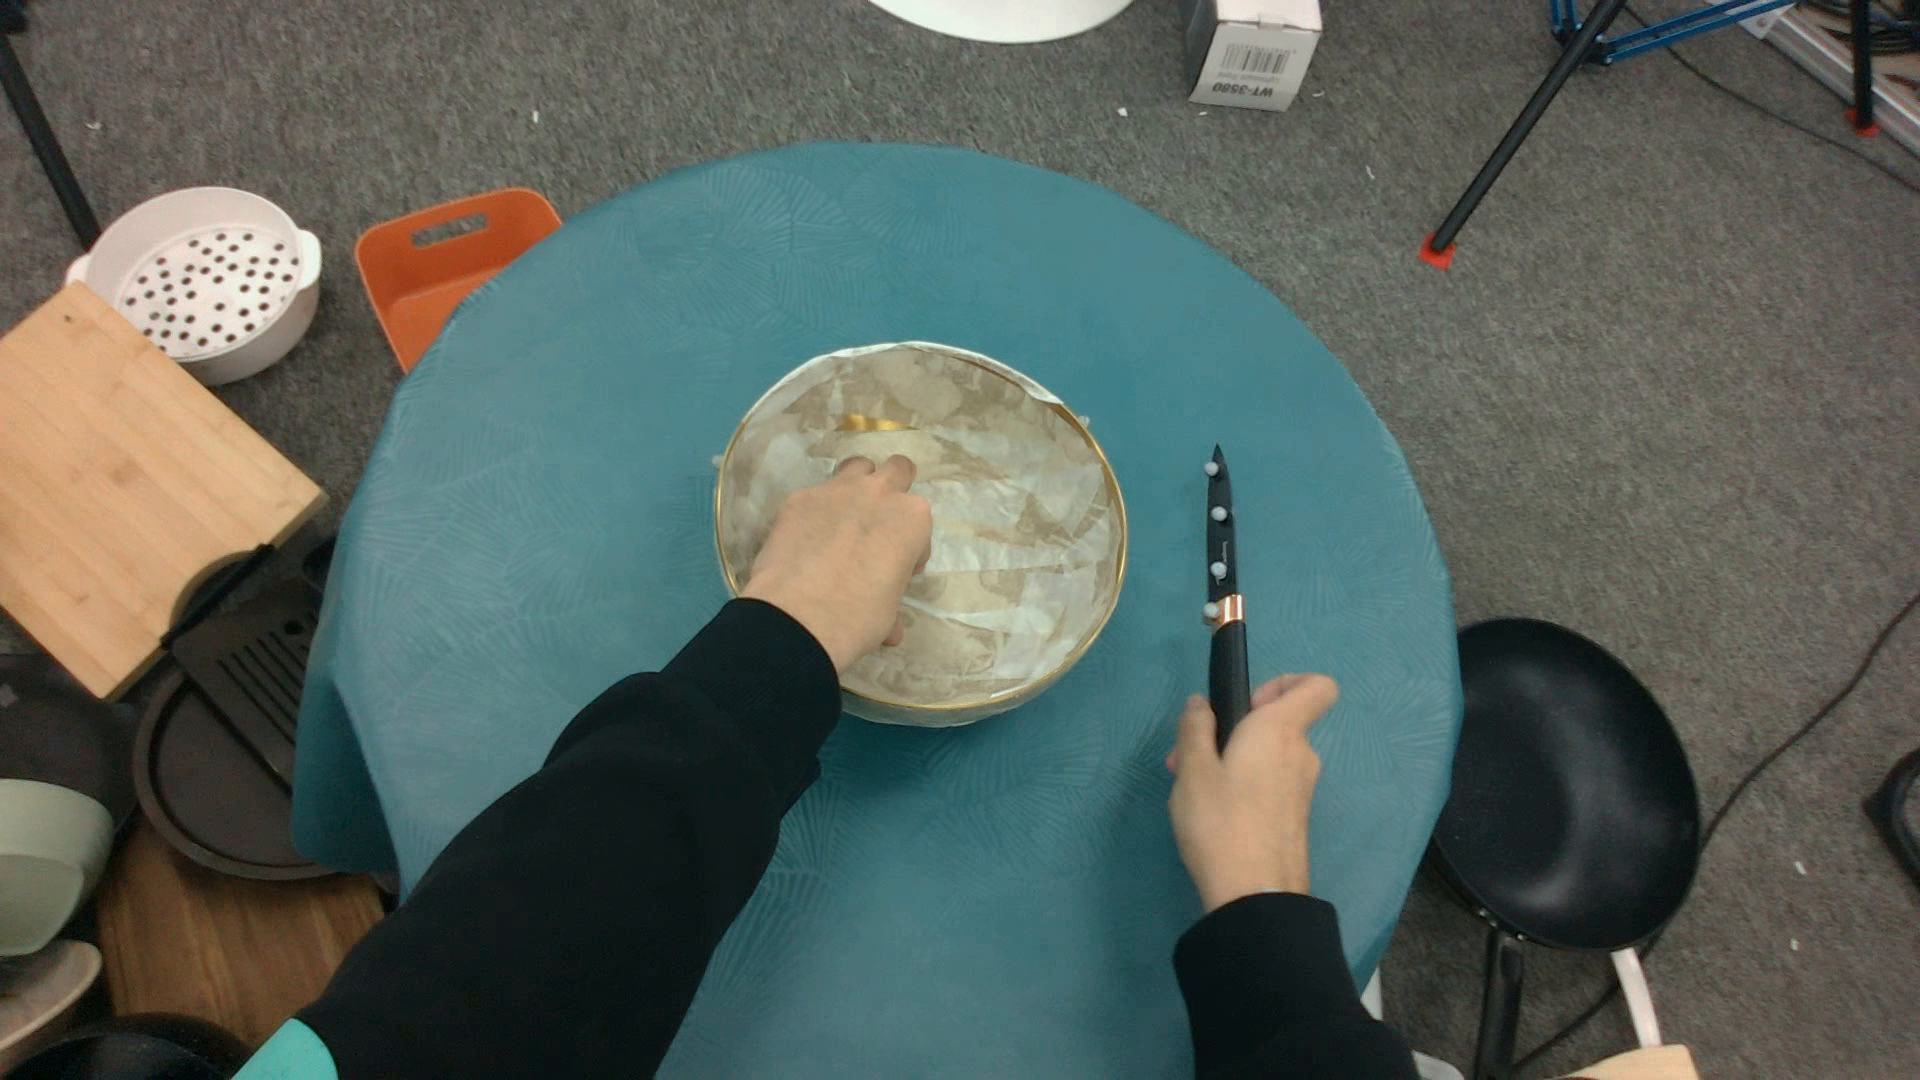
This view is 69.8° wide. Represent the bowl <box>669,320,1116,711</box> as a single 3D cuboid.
[{"bbox_3d":[-0.035,0.001,0.685,0.215,0.094,0.215,6,60,-11],"label":"bowl"}]

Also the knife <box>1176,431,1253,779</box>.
[{"bbox_3d":[0.130,0.025,0.723,0.017,0.026,0.226,5,53,-8],"label":"knife"}]
